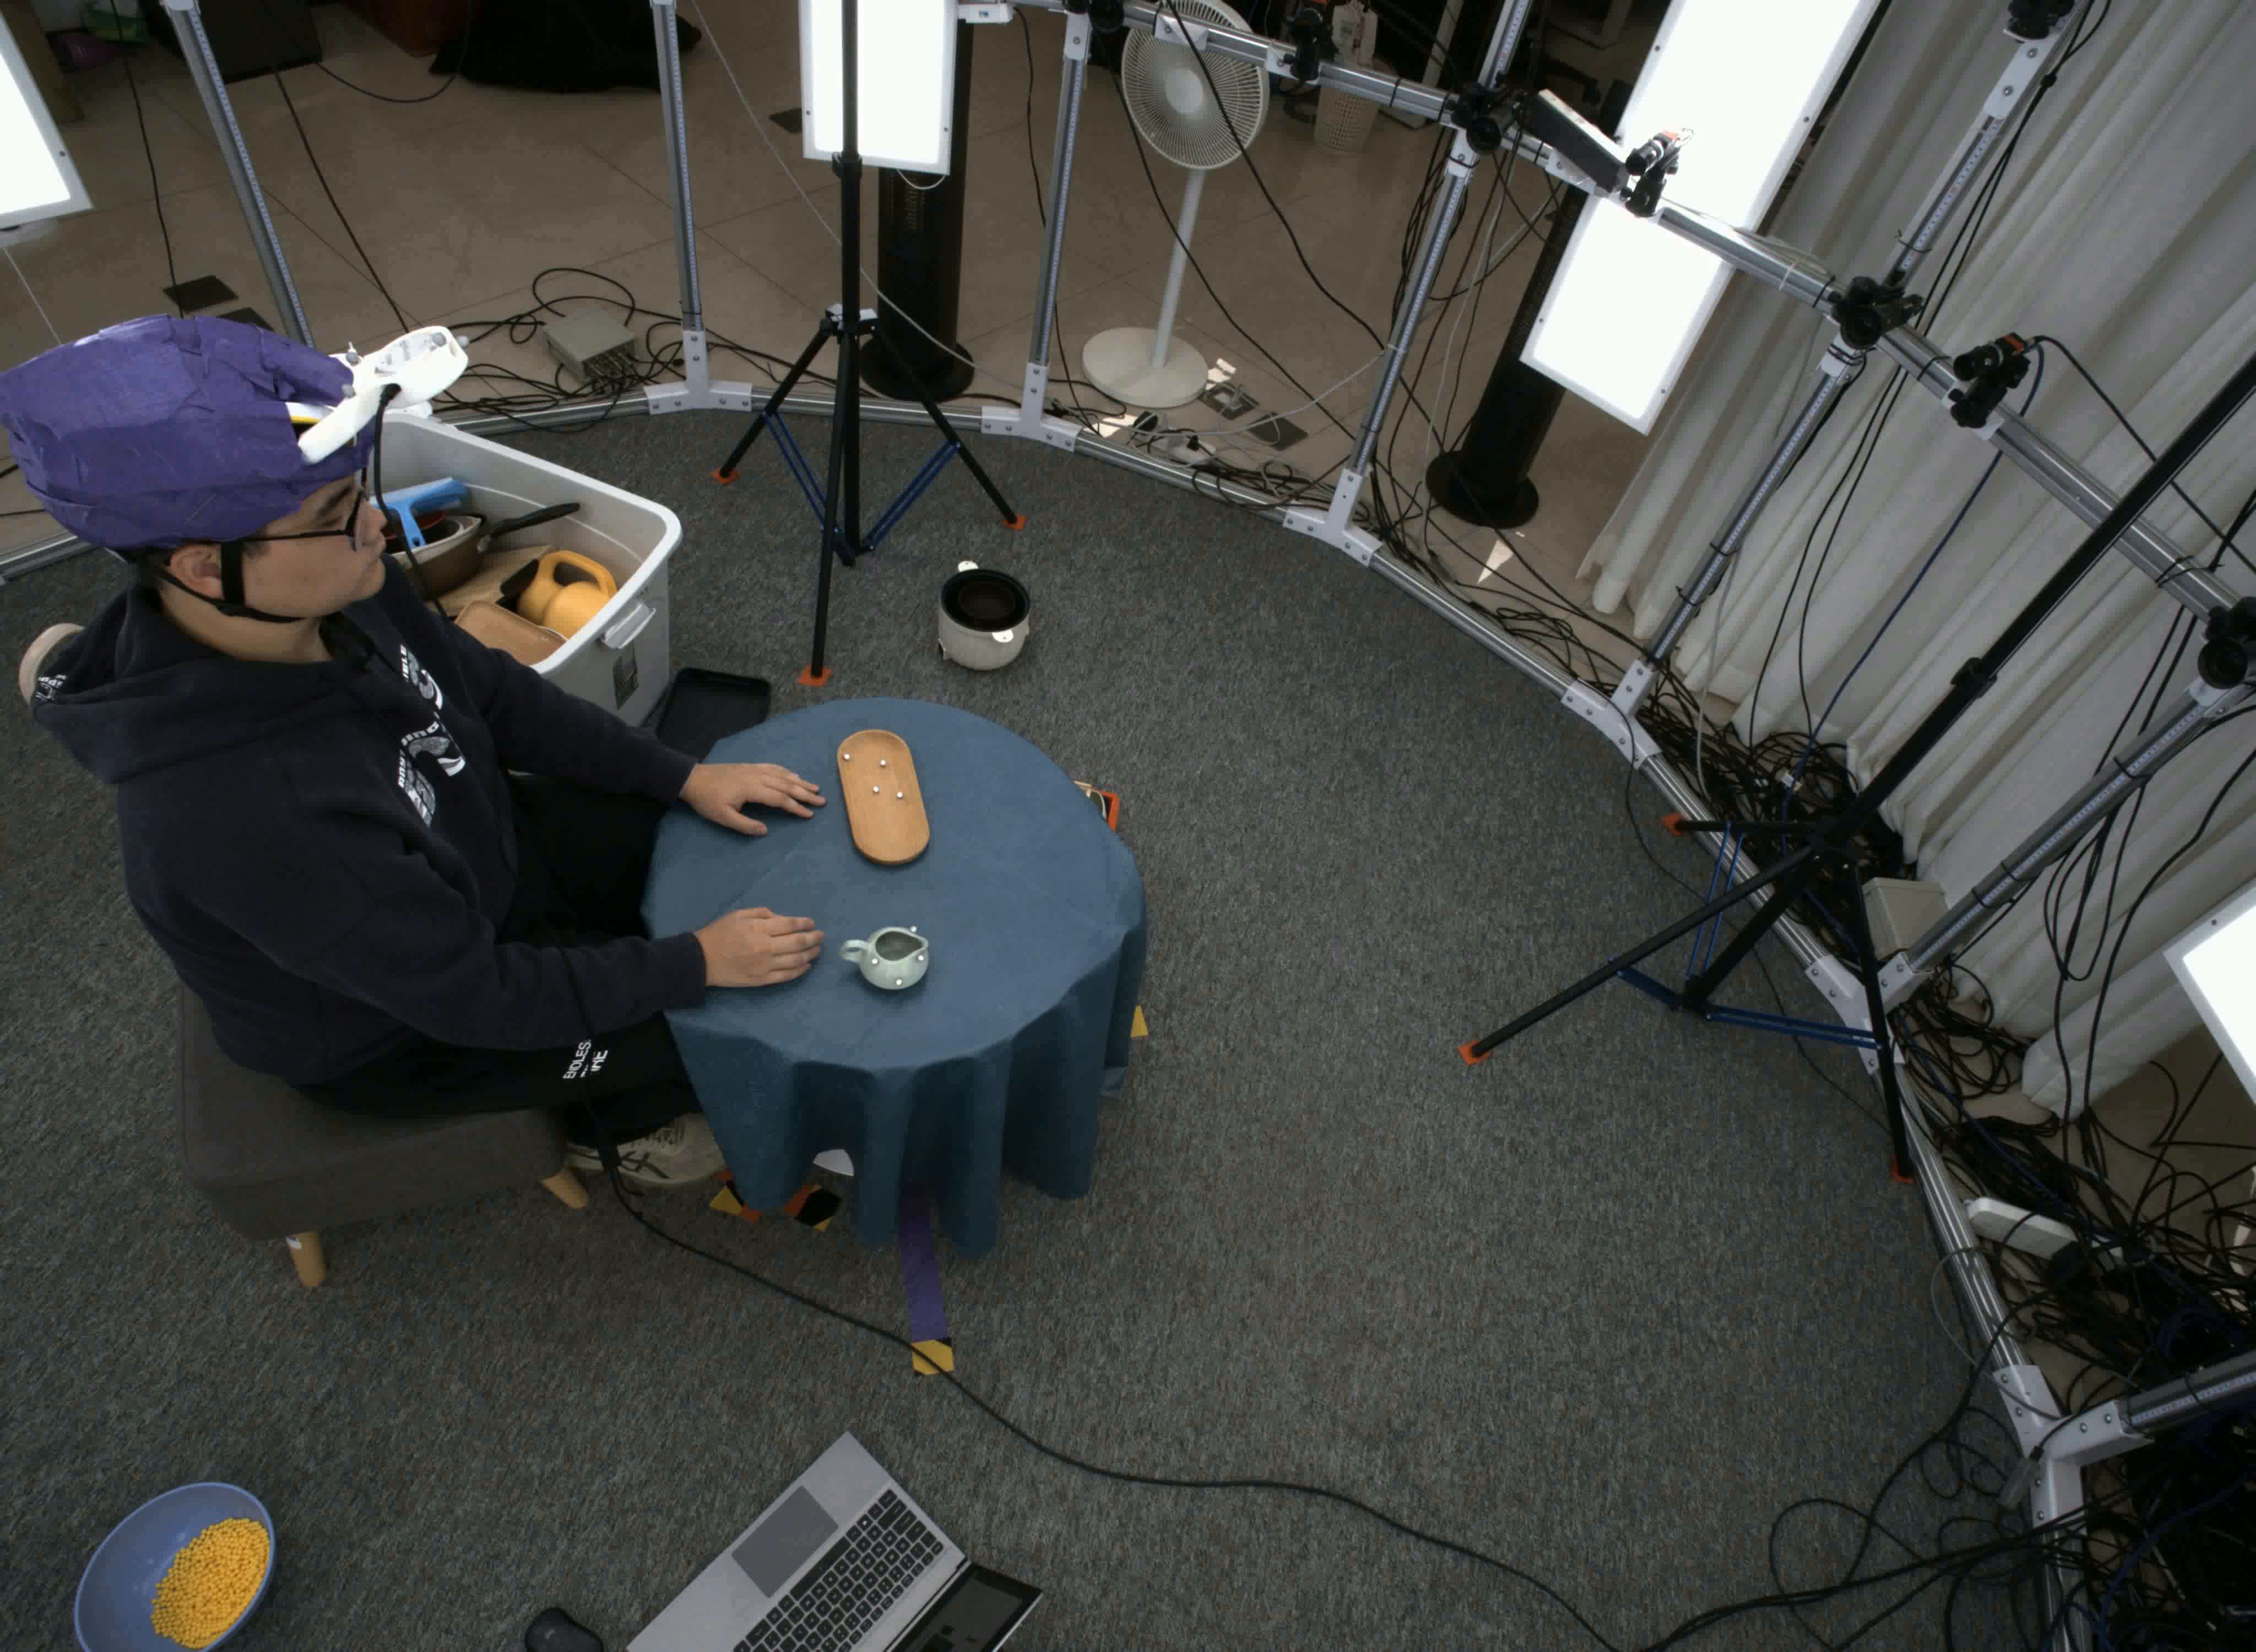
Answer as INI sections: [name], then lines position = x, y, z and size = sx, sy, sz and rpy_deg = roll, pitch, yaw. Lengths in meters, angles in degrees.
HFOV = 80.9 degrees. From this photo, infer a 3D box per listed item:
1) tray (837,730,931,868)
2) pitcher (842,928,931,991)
[tray]
position = -0.332, -0.039, 1.763
size = 0.102, 0.021, 0.226
rpy_deg = -9, 59, -18
[pitcher]
position = -0.296, 0.159, 1.597
size = 0.108, 0.062, 0.084
rpy_deg = -3, 53, -12
